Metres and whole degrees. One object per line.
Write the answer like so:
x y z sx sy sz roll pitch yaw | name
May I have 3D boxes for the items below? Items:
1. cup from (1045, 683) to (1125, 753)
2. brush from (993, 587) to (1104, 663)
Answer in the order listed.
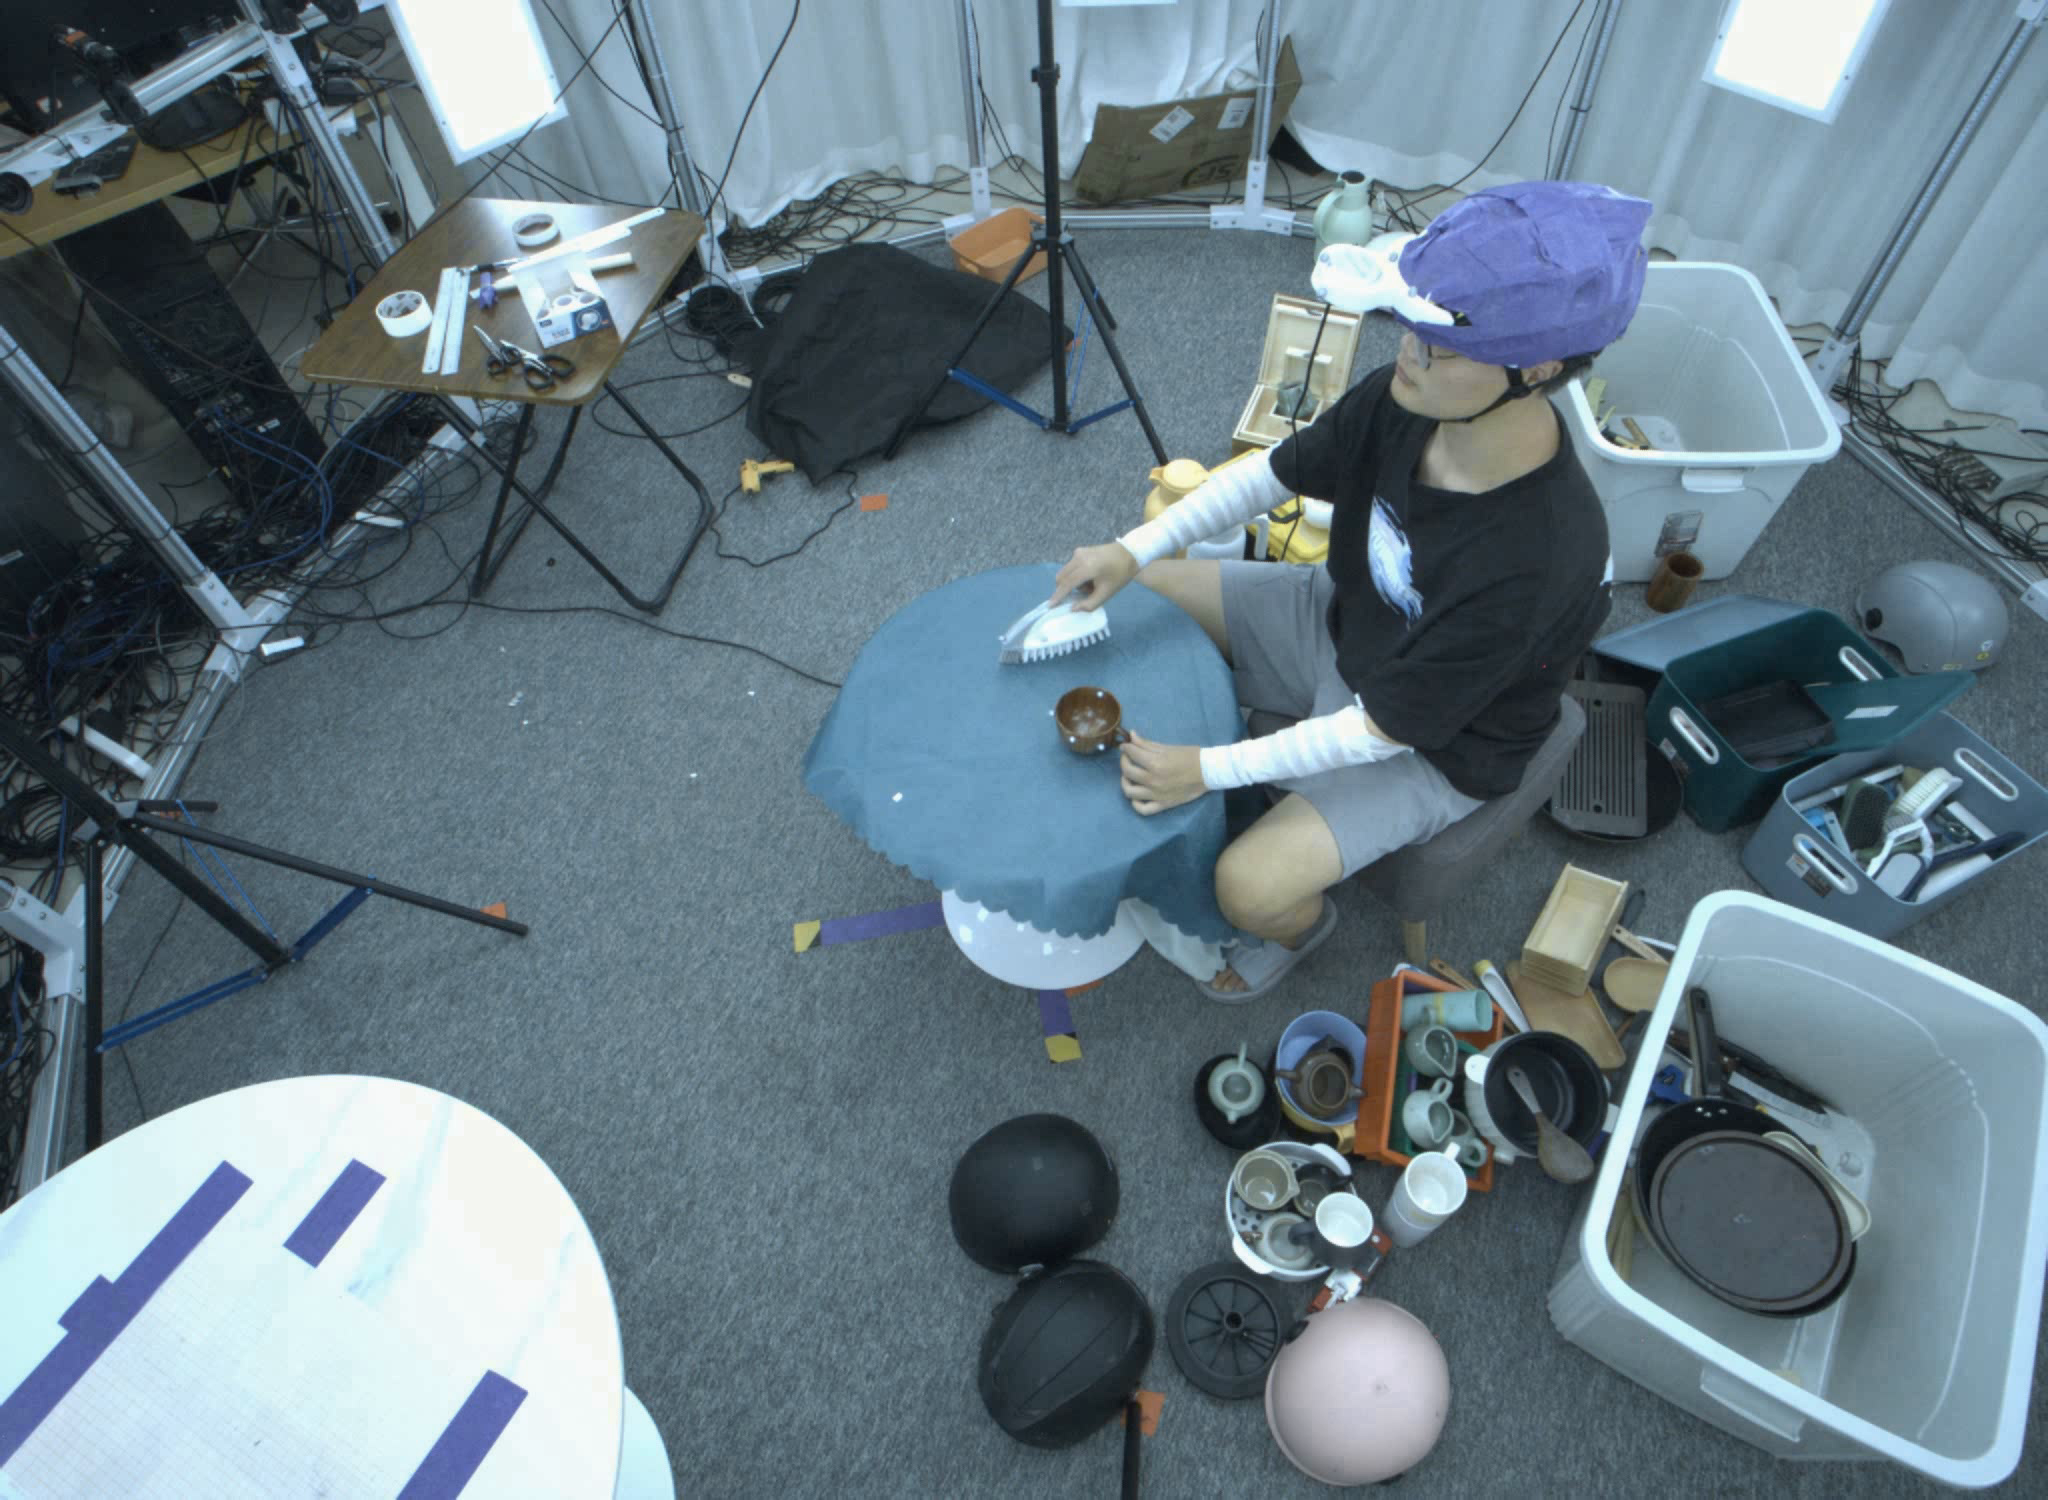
0.089 -0.034 1.759 0.118 0.068 0.096 27 58 19 | cup
0.029 -0.192 1.854 0.176 0.095 0.060 -21 48 -6 | brush
